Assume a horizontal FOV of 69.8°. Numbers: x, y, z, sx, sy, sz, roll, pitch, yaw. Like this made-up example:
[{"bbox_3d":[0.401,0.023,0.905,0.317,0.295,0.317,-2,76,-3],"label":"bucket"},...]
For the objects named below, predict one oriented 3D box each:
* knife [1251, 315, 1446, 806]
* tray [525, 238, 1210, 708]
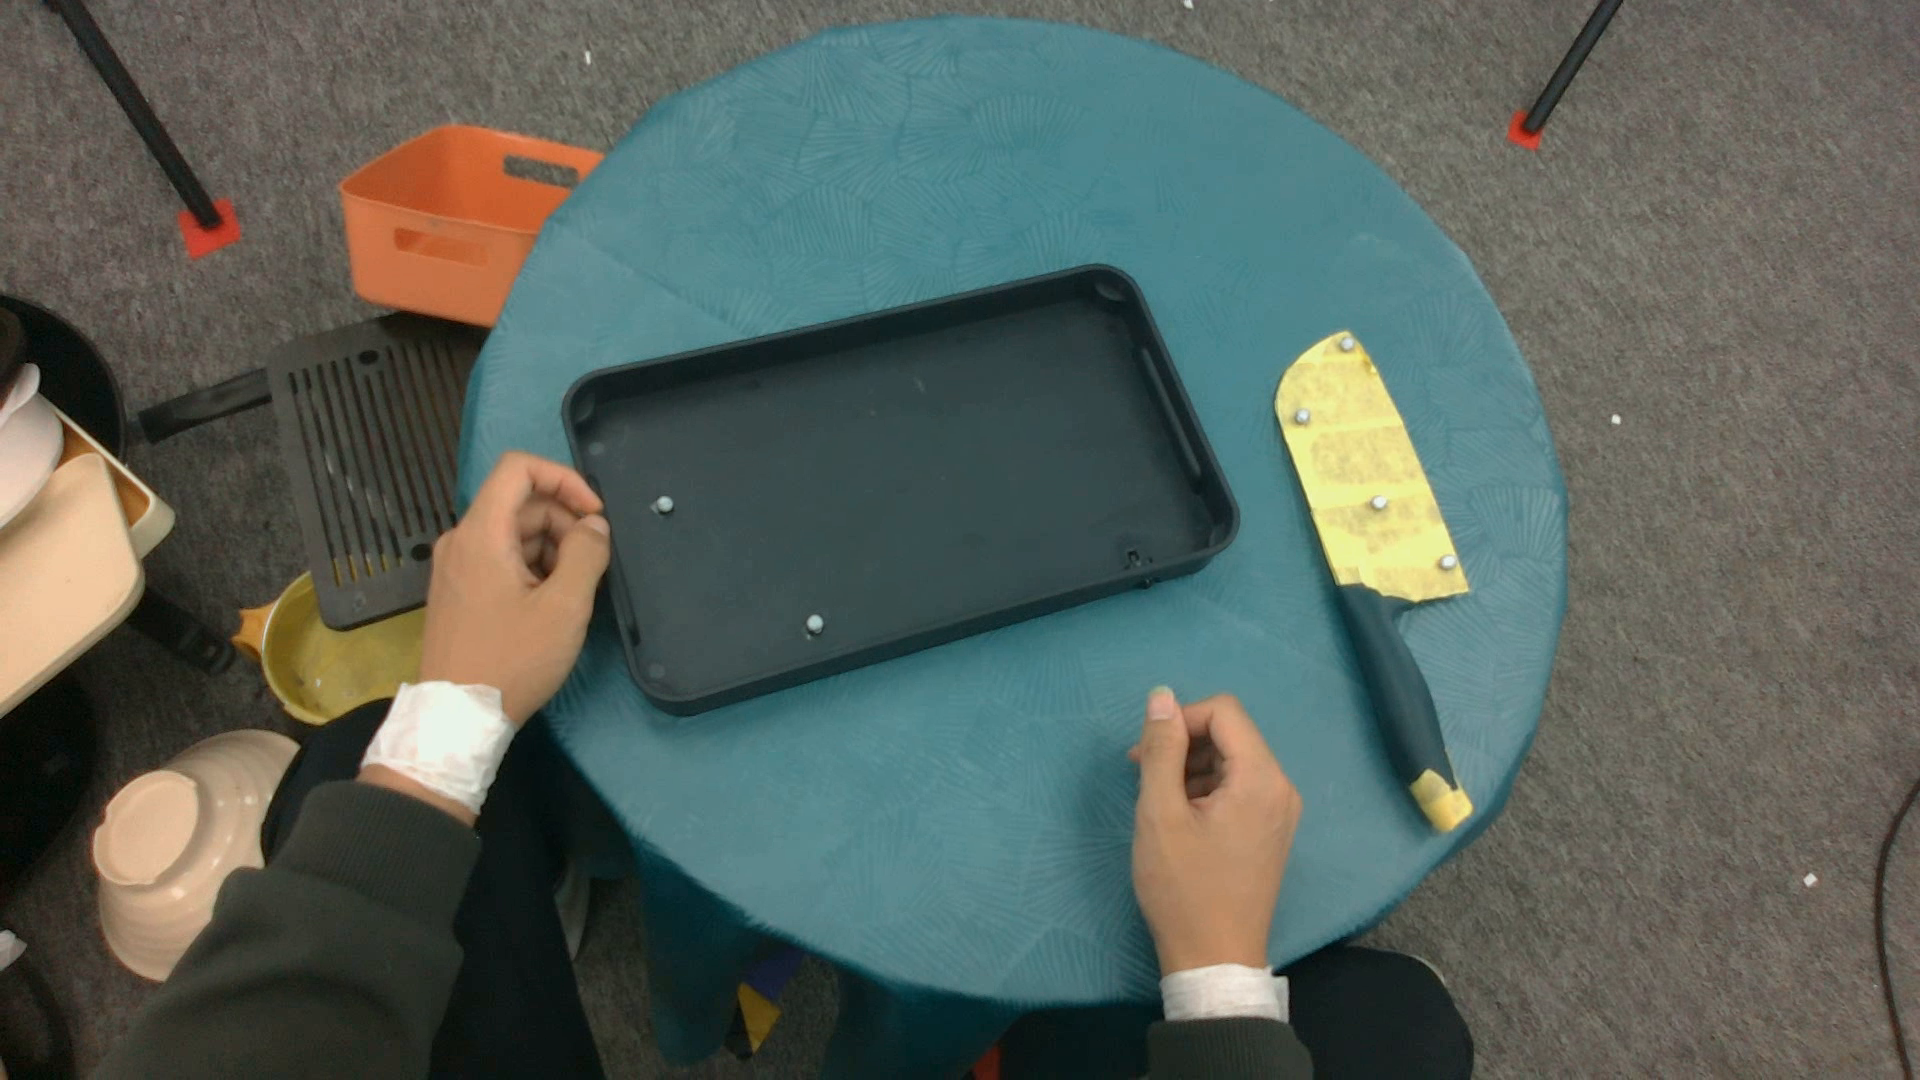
[{"bbox_3d":[0.220,0.000,0.746,0.081,0.027,0.290,-6,67,-10],"label":"knife"},{"bbox_3d":[-0.045,-0.042,0.711,0.318,0.037,0.184,-17,71,-16],"label":"tray"}]
